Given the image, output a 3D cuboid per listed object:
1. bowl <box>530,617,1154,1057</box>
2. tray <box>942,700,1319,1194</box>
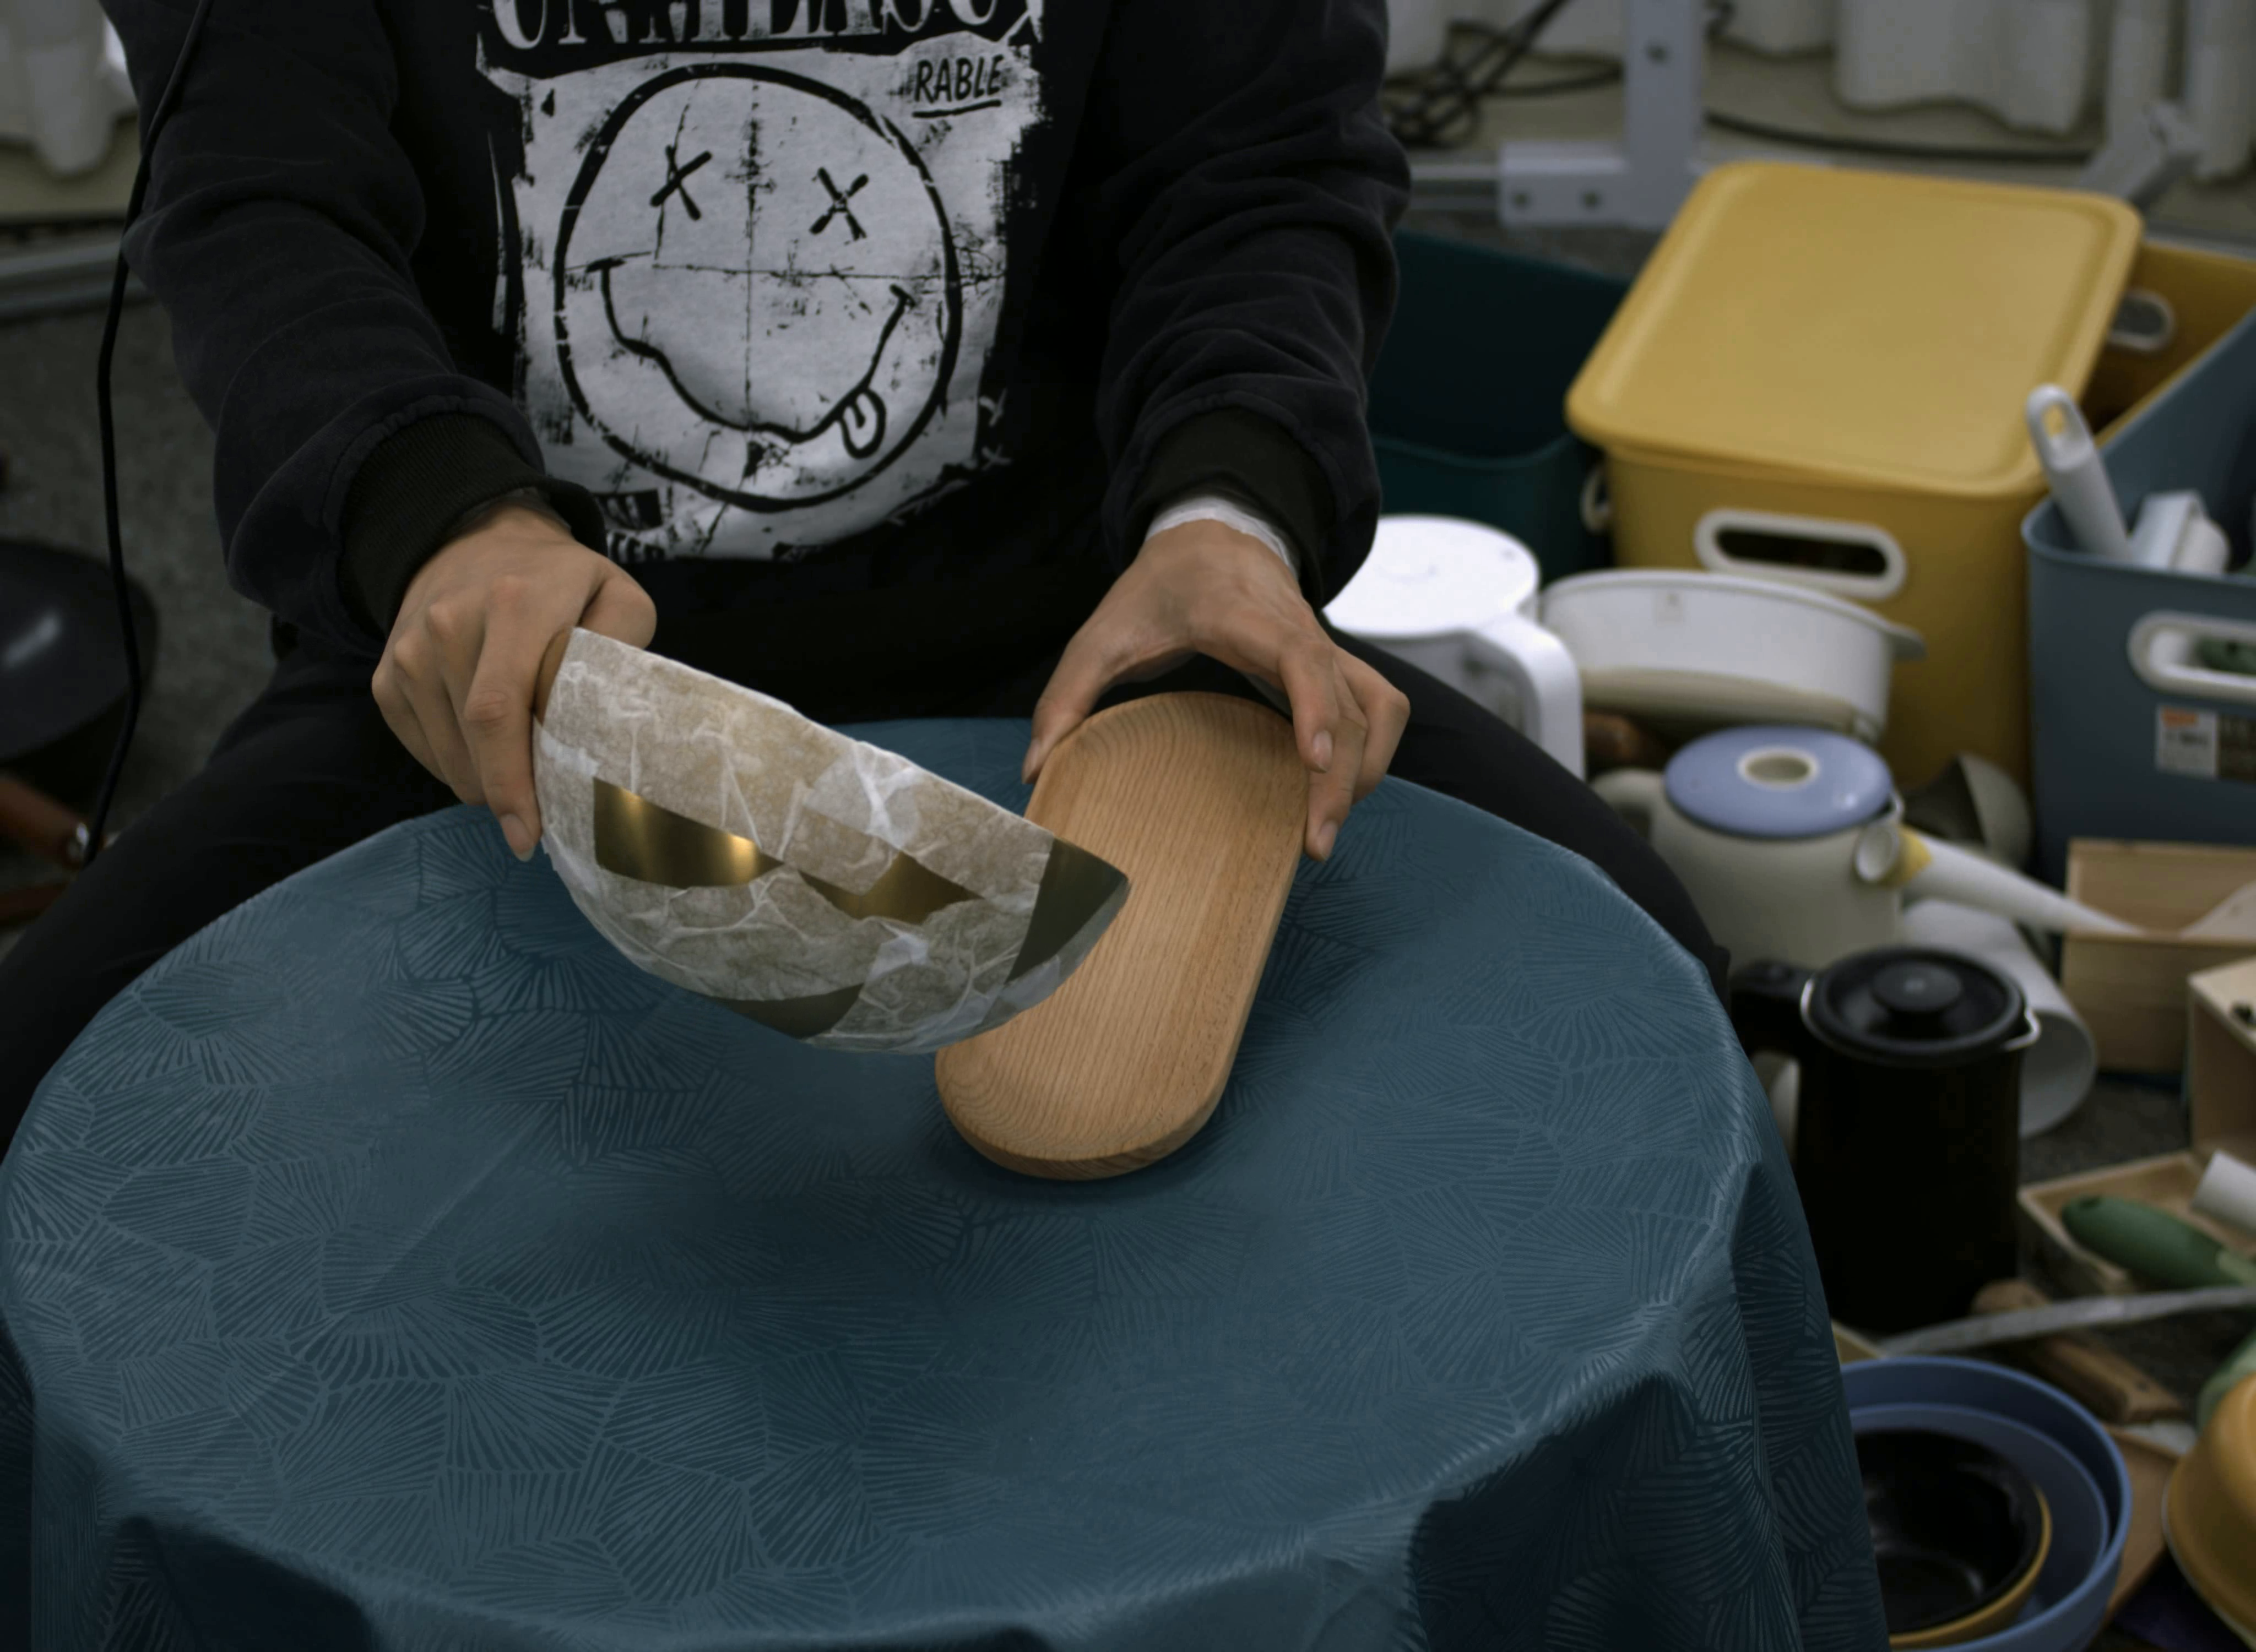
[{"bbox_3d":[-0.105,0.018,1.789,0.214,0.095,0.214,23,-4,3],"label":"bowl"},{"bbox_3d":[0.003,0.039,1.942,0.101,0.020,0.236,3,45,15],"label":"tray"}]
